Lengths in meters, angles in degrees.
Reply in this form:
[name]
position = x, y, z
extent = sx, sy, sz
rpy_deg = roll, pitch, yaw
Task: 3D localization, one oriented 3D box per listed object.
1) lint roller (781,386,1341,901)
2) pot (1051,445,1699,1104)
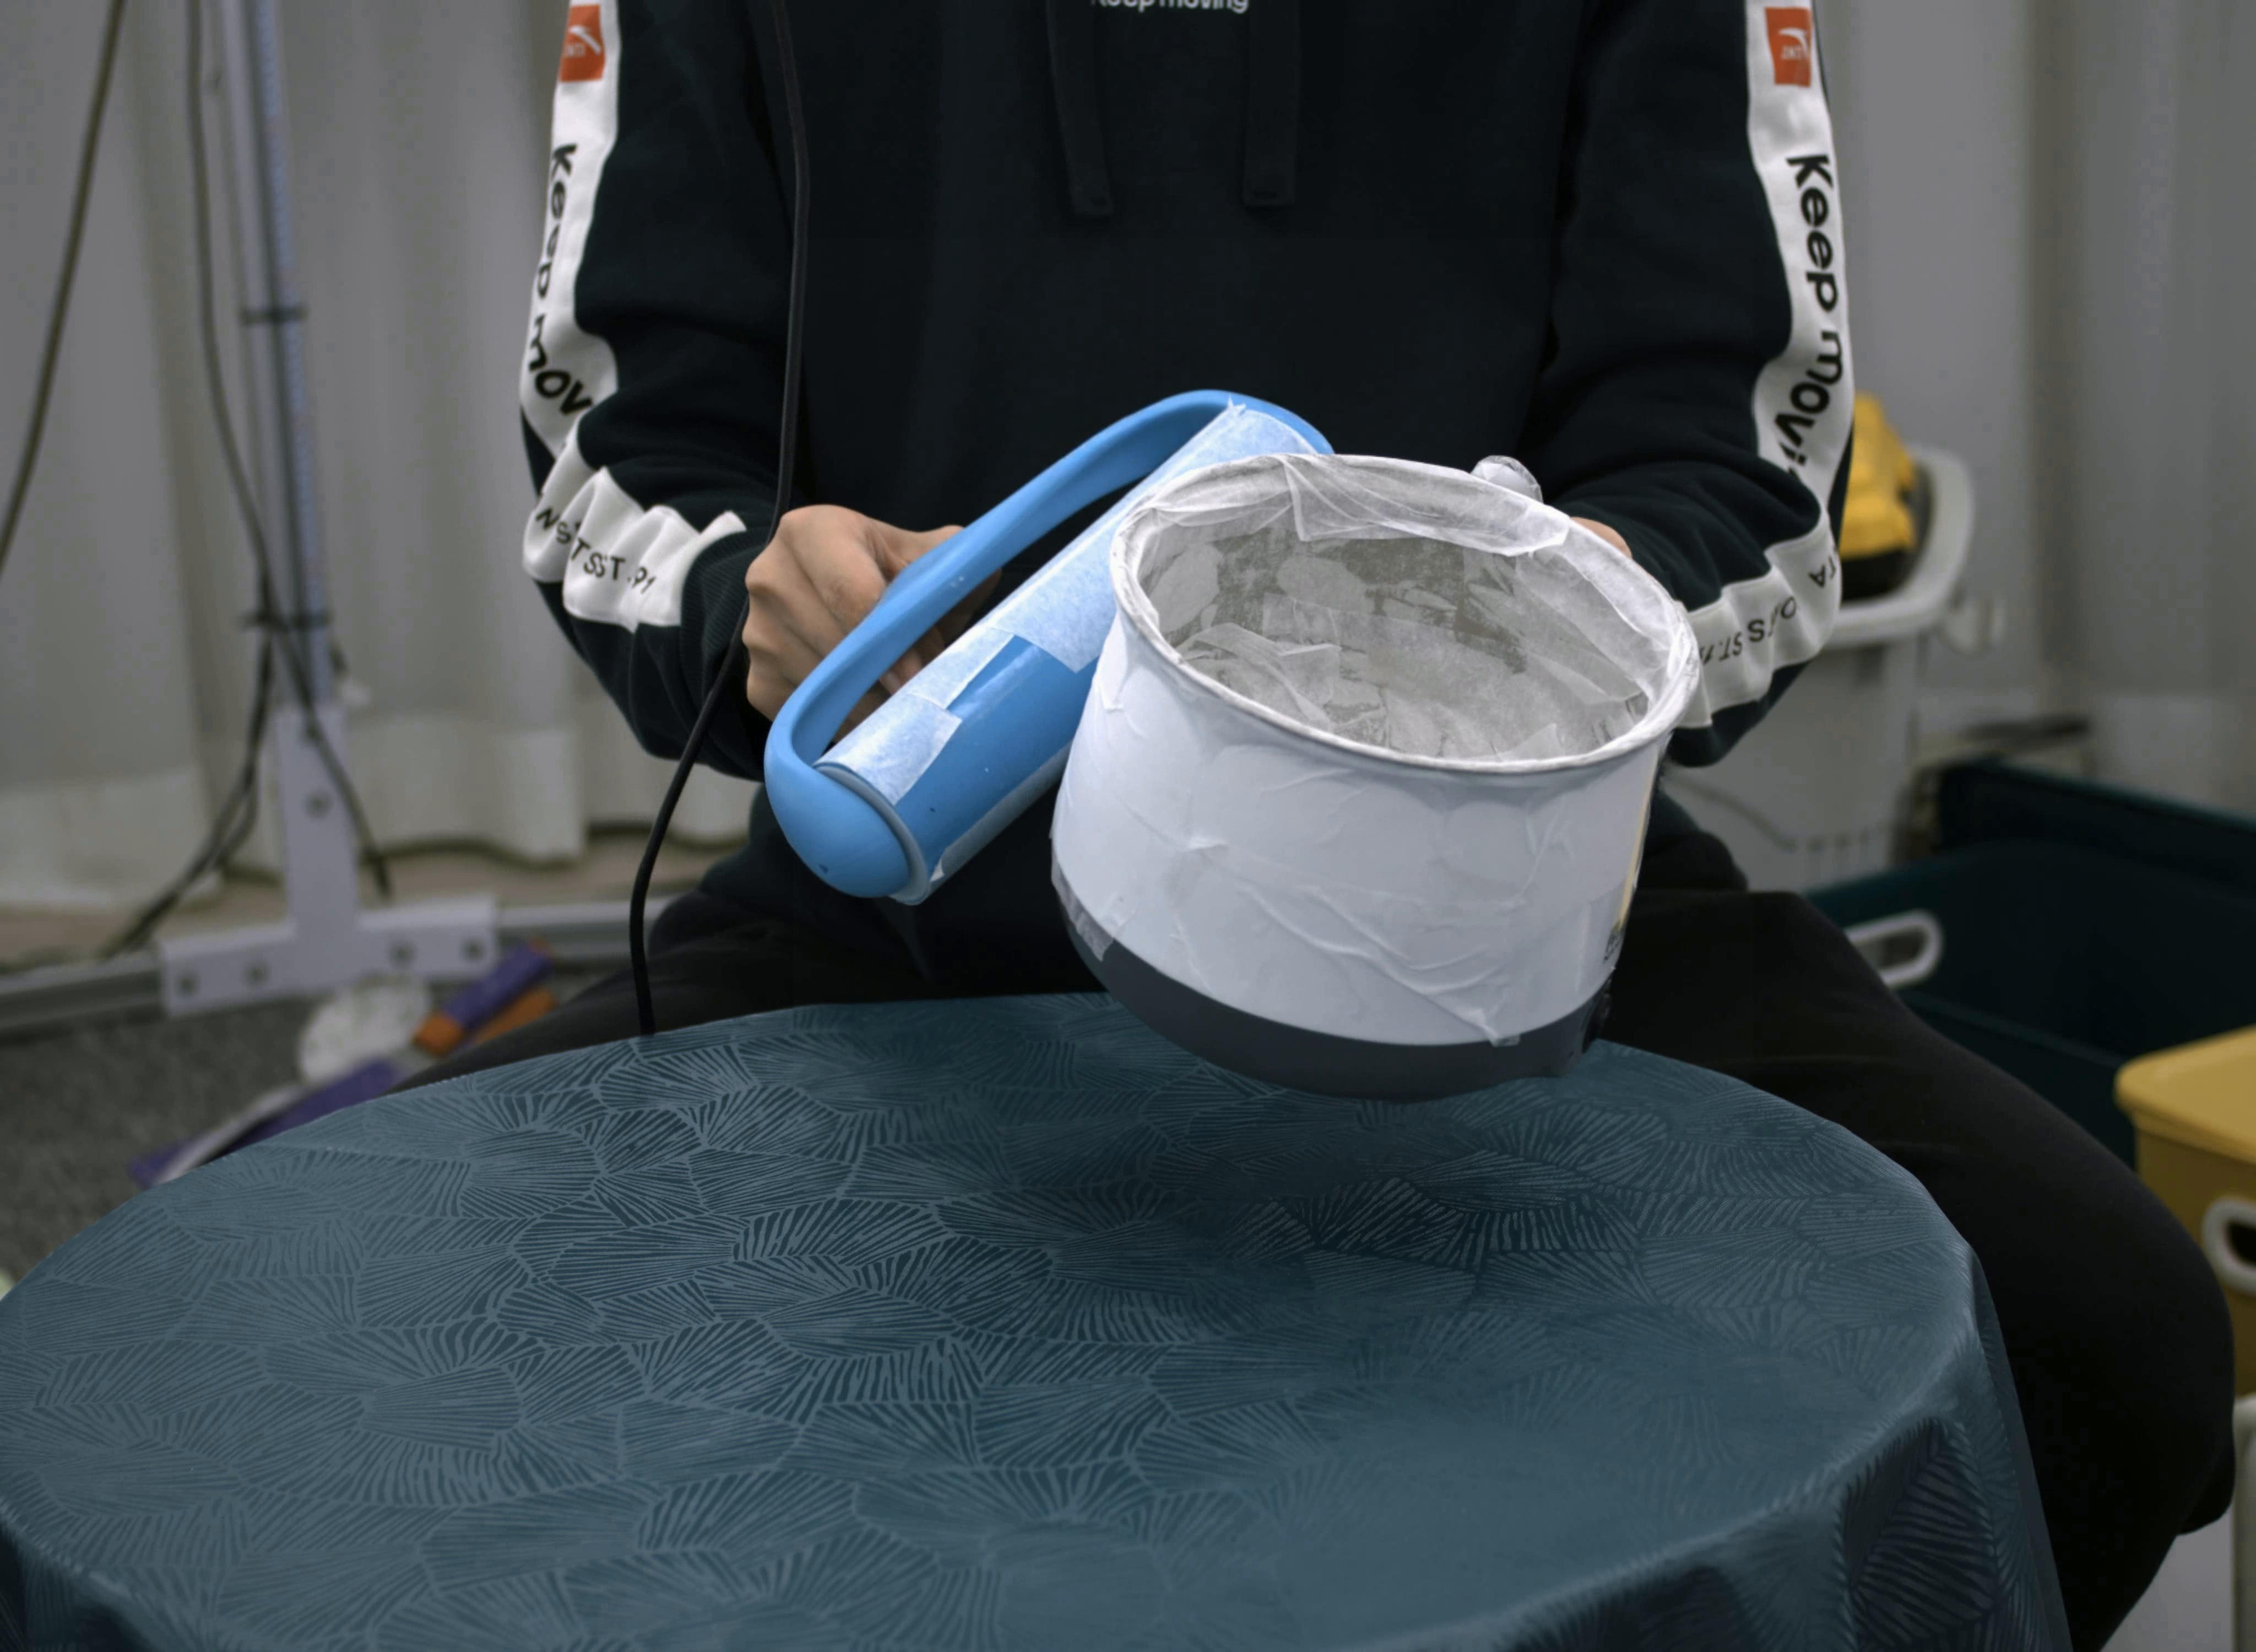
[lint roller]
position = -0.050, -0.056, 1.745
extent = 0.180, 0.067, 0.230
rpy_deg = -2, 37, 51
[pot]
position = 0.079, -0.026, 1.658
extent = 0.179, 0.135, 0.235
rpy_deg = 19, 33, 11
